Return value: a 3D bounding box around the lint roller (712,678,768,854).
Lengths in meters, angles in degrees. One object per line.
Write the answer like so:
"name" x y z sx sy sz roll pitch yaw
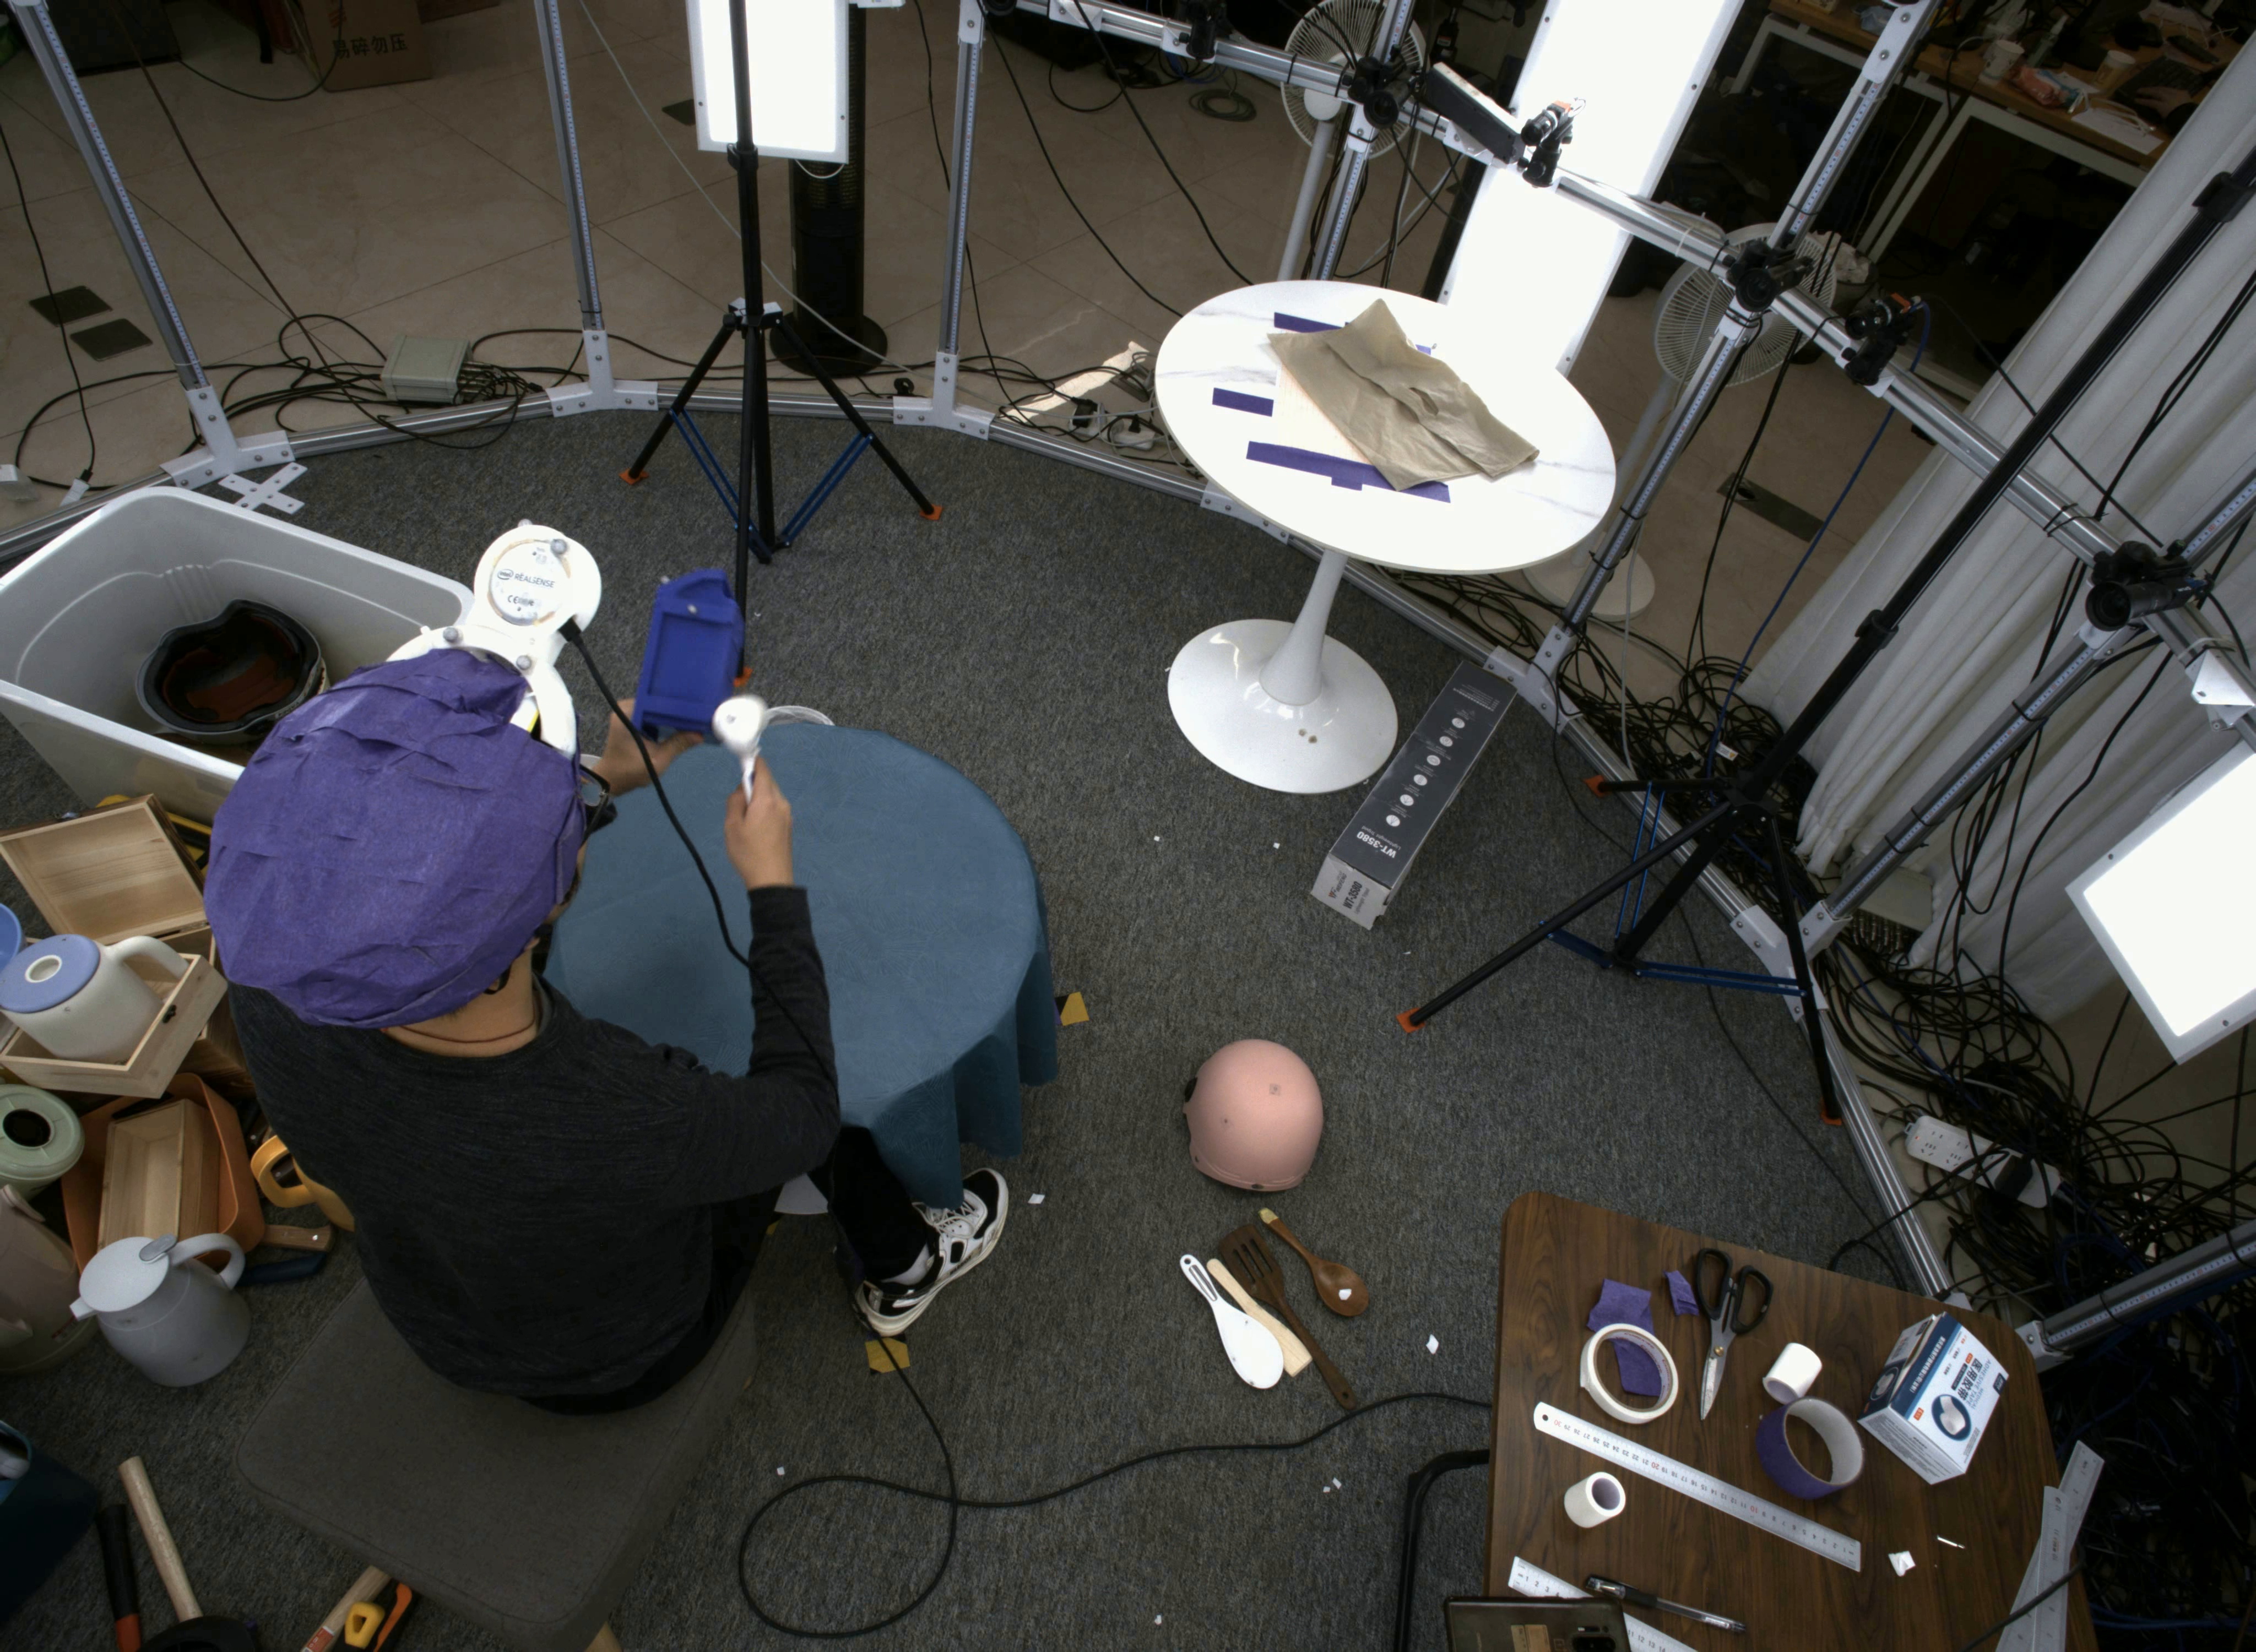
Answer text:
"lint roller" -0.386 -0.064 1.343 0.050 0.130 0.185 -15 100 -9

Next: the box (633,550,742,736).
"box" -0.458 -0.188 1.345 0.082 0.123 0.181 7 85 -11
